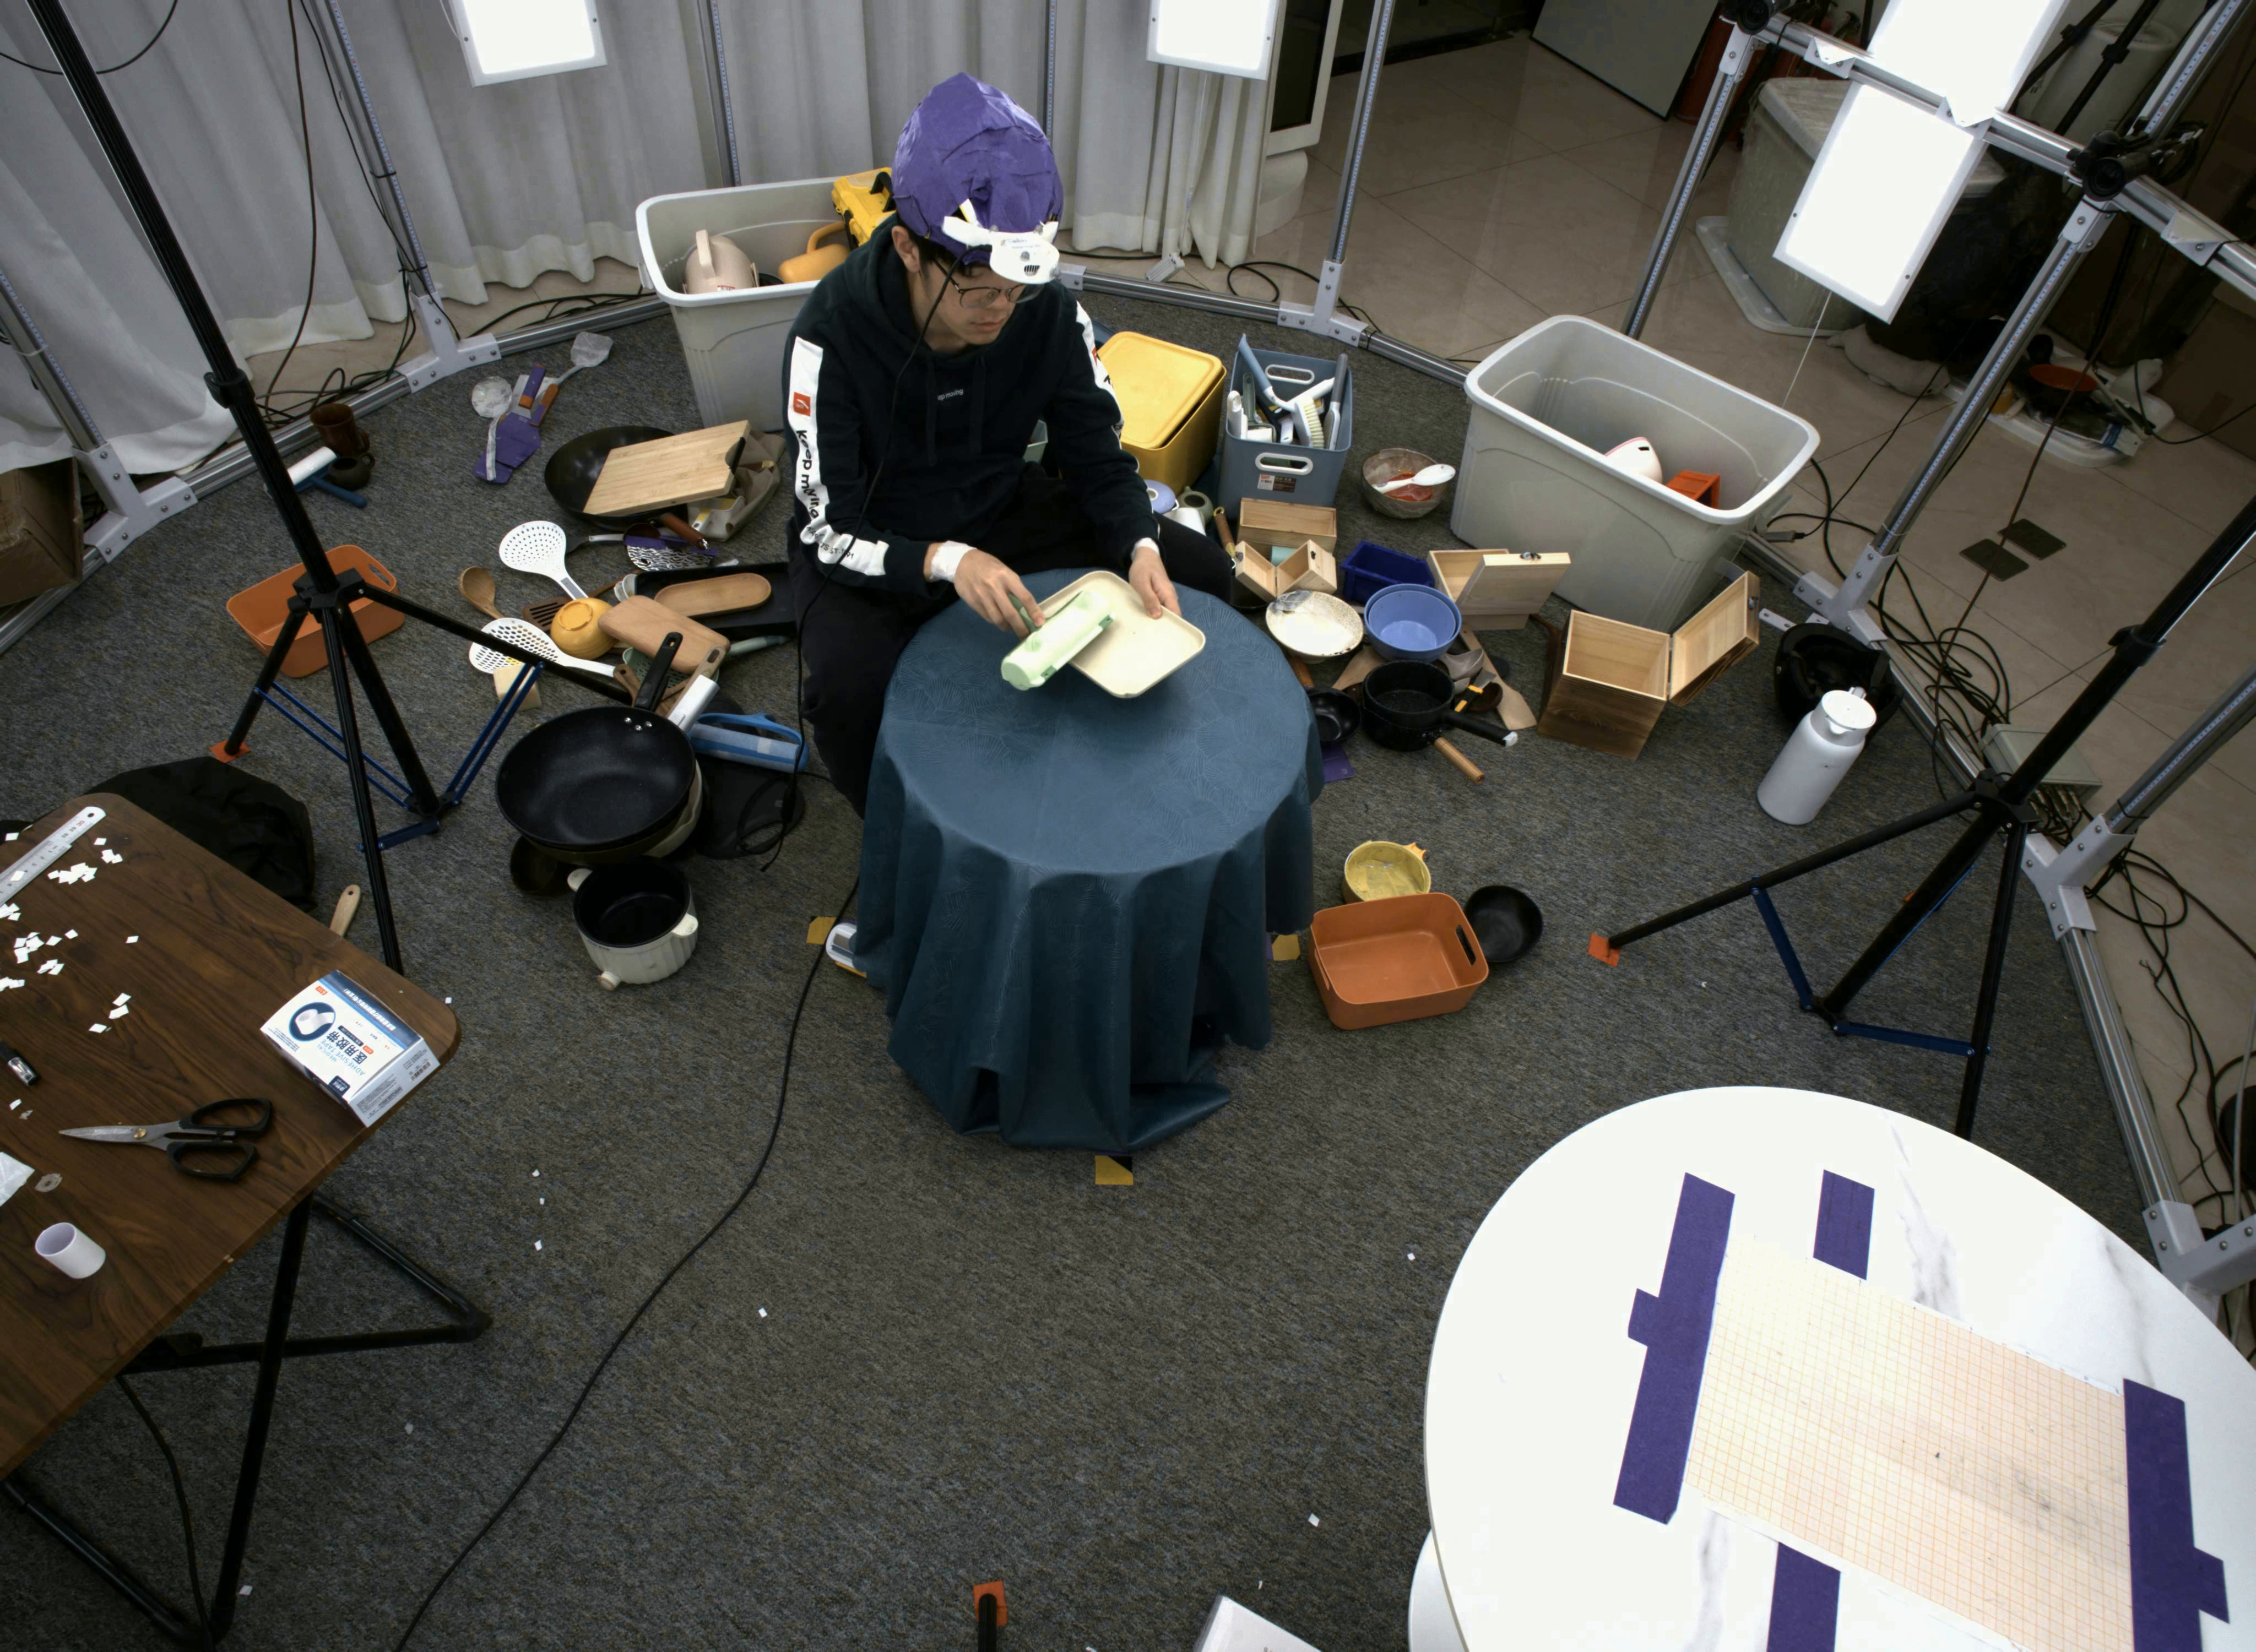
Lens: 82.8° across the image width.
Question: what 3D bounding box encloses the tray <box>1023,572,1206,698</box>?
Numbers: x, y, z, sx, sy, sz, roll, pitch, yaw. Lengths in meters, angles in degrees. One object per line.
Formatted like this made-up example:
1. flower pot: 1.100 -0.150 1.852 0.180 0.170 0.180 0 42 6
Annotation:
1. tray: -0.020 -0.272 1.817 0.172 0.017 0.244 -36 55 -25

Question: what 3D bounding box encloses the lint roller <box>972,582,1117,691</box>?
1. lint roller: -0.137 -0.296 1.775 0.184 0.080 0.201 39 54 8
